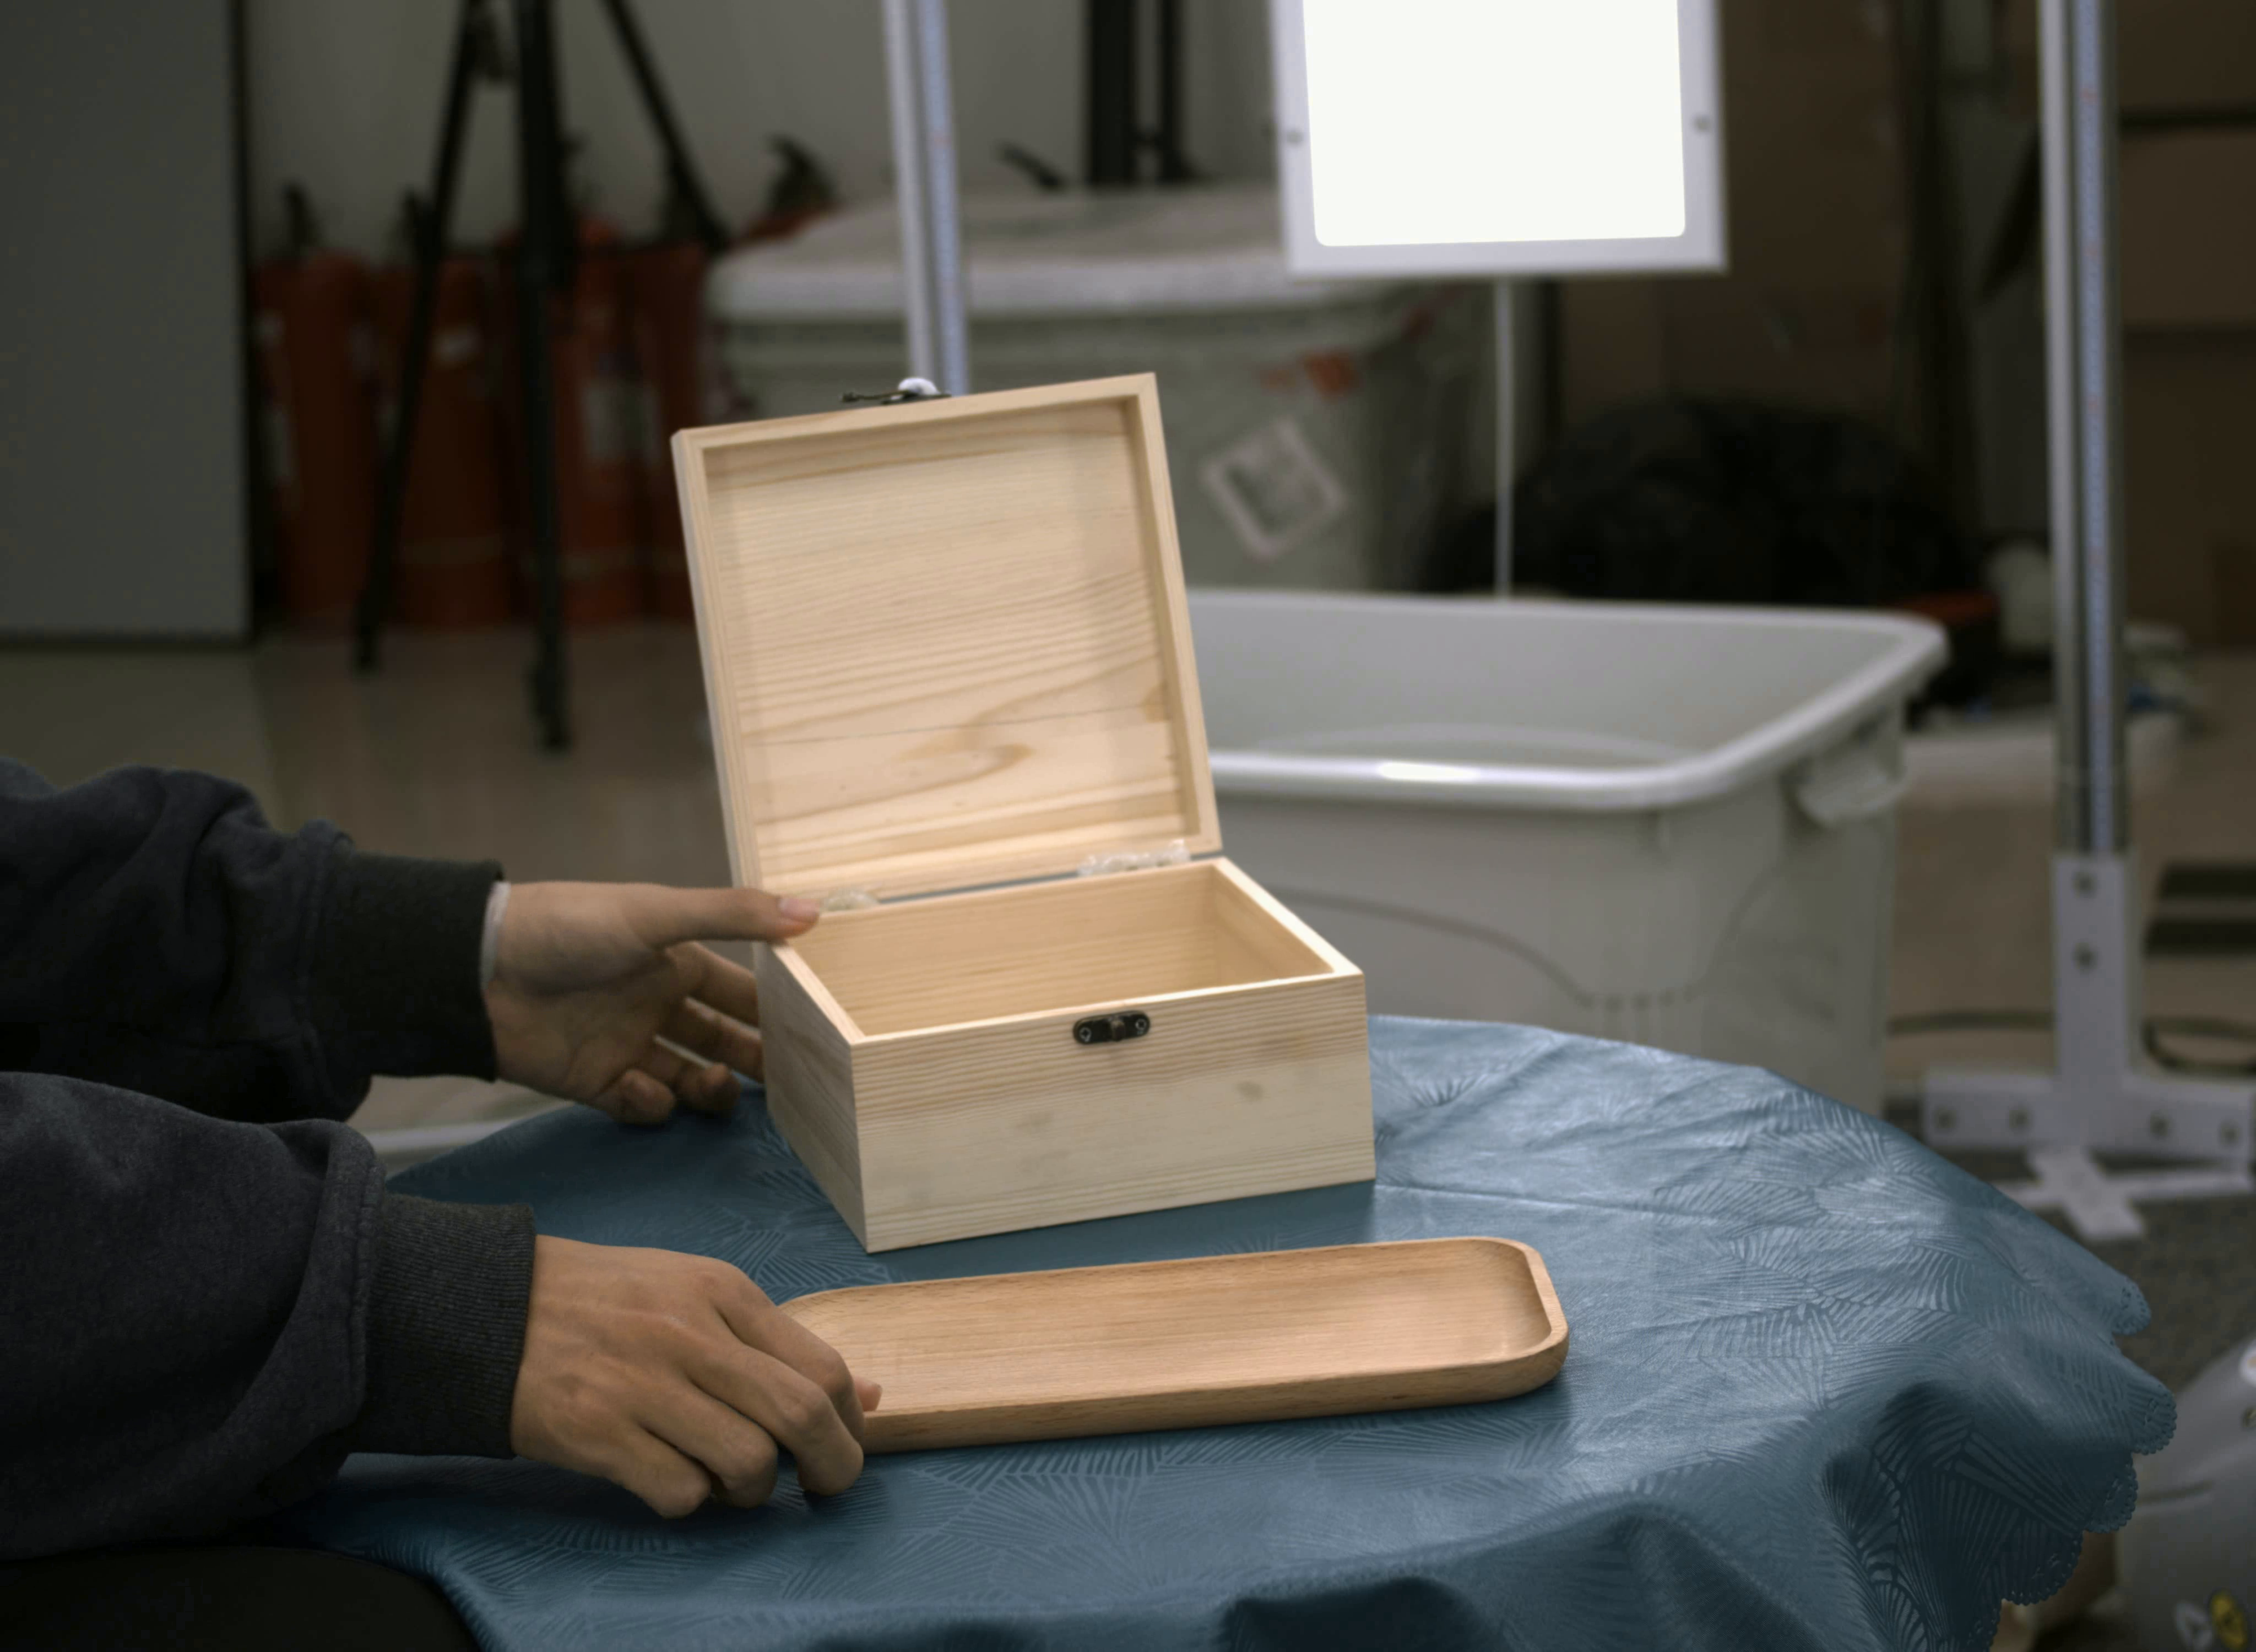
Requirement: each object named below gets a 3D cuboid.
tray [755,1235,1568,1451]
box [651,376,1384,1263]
[{"bbox_3d":[0.009,0.161,1.716,0.250,0.023,0.130,-5,11,1],"label":"tray"},{"bbox_3d":[-0.043,-0.011,1.960,0.179,0.254,0.267,-10,13,-12],"label":"box"}]
